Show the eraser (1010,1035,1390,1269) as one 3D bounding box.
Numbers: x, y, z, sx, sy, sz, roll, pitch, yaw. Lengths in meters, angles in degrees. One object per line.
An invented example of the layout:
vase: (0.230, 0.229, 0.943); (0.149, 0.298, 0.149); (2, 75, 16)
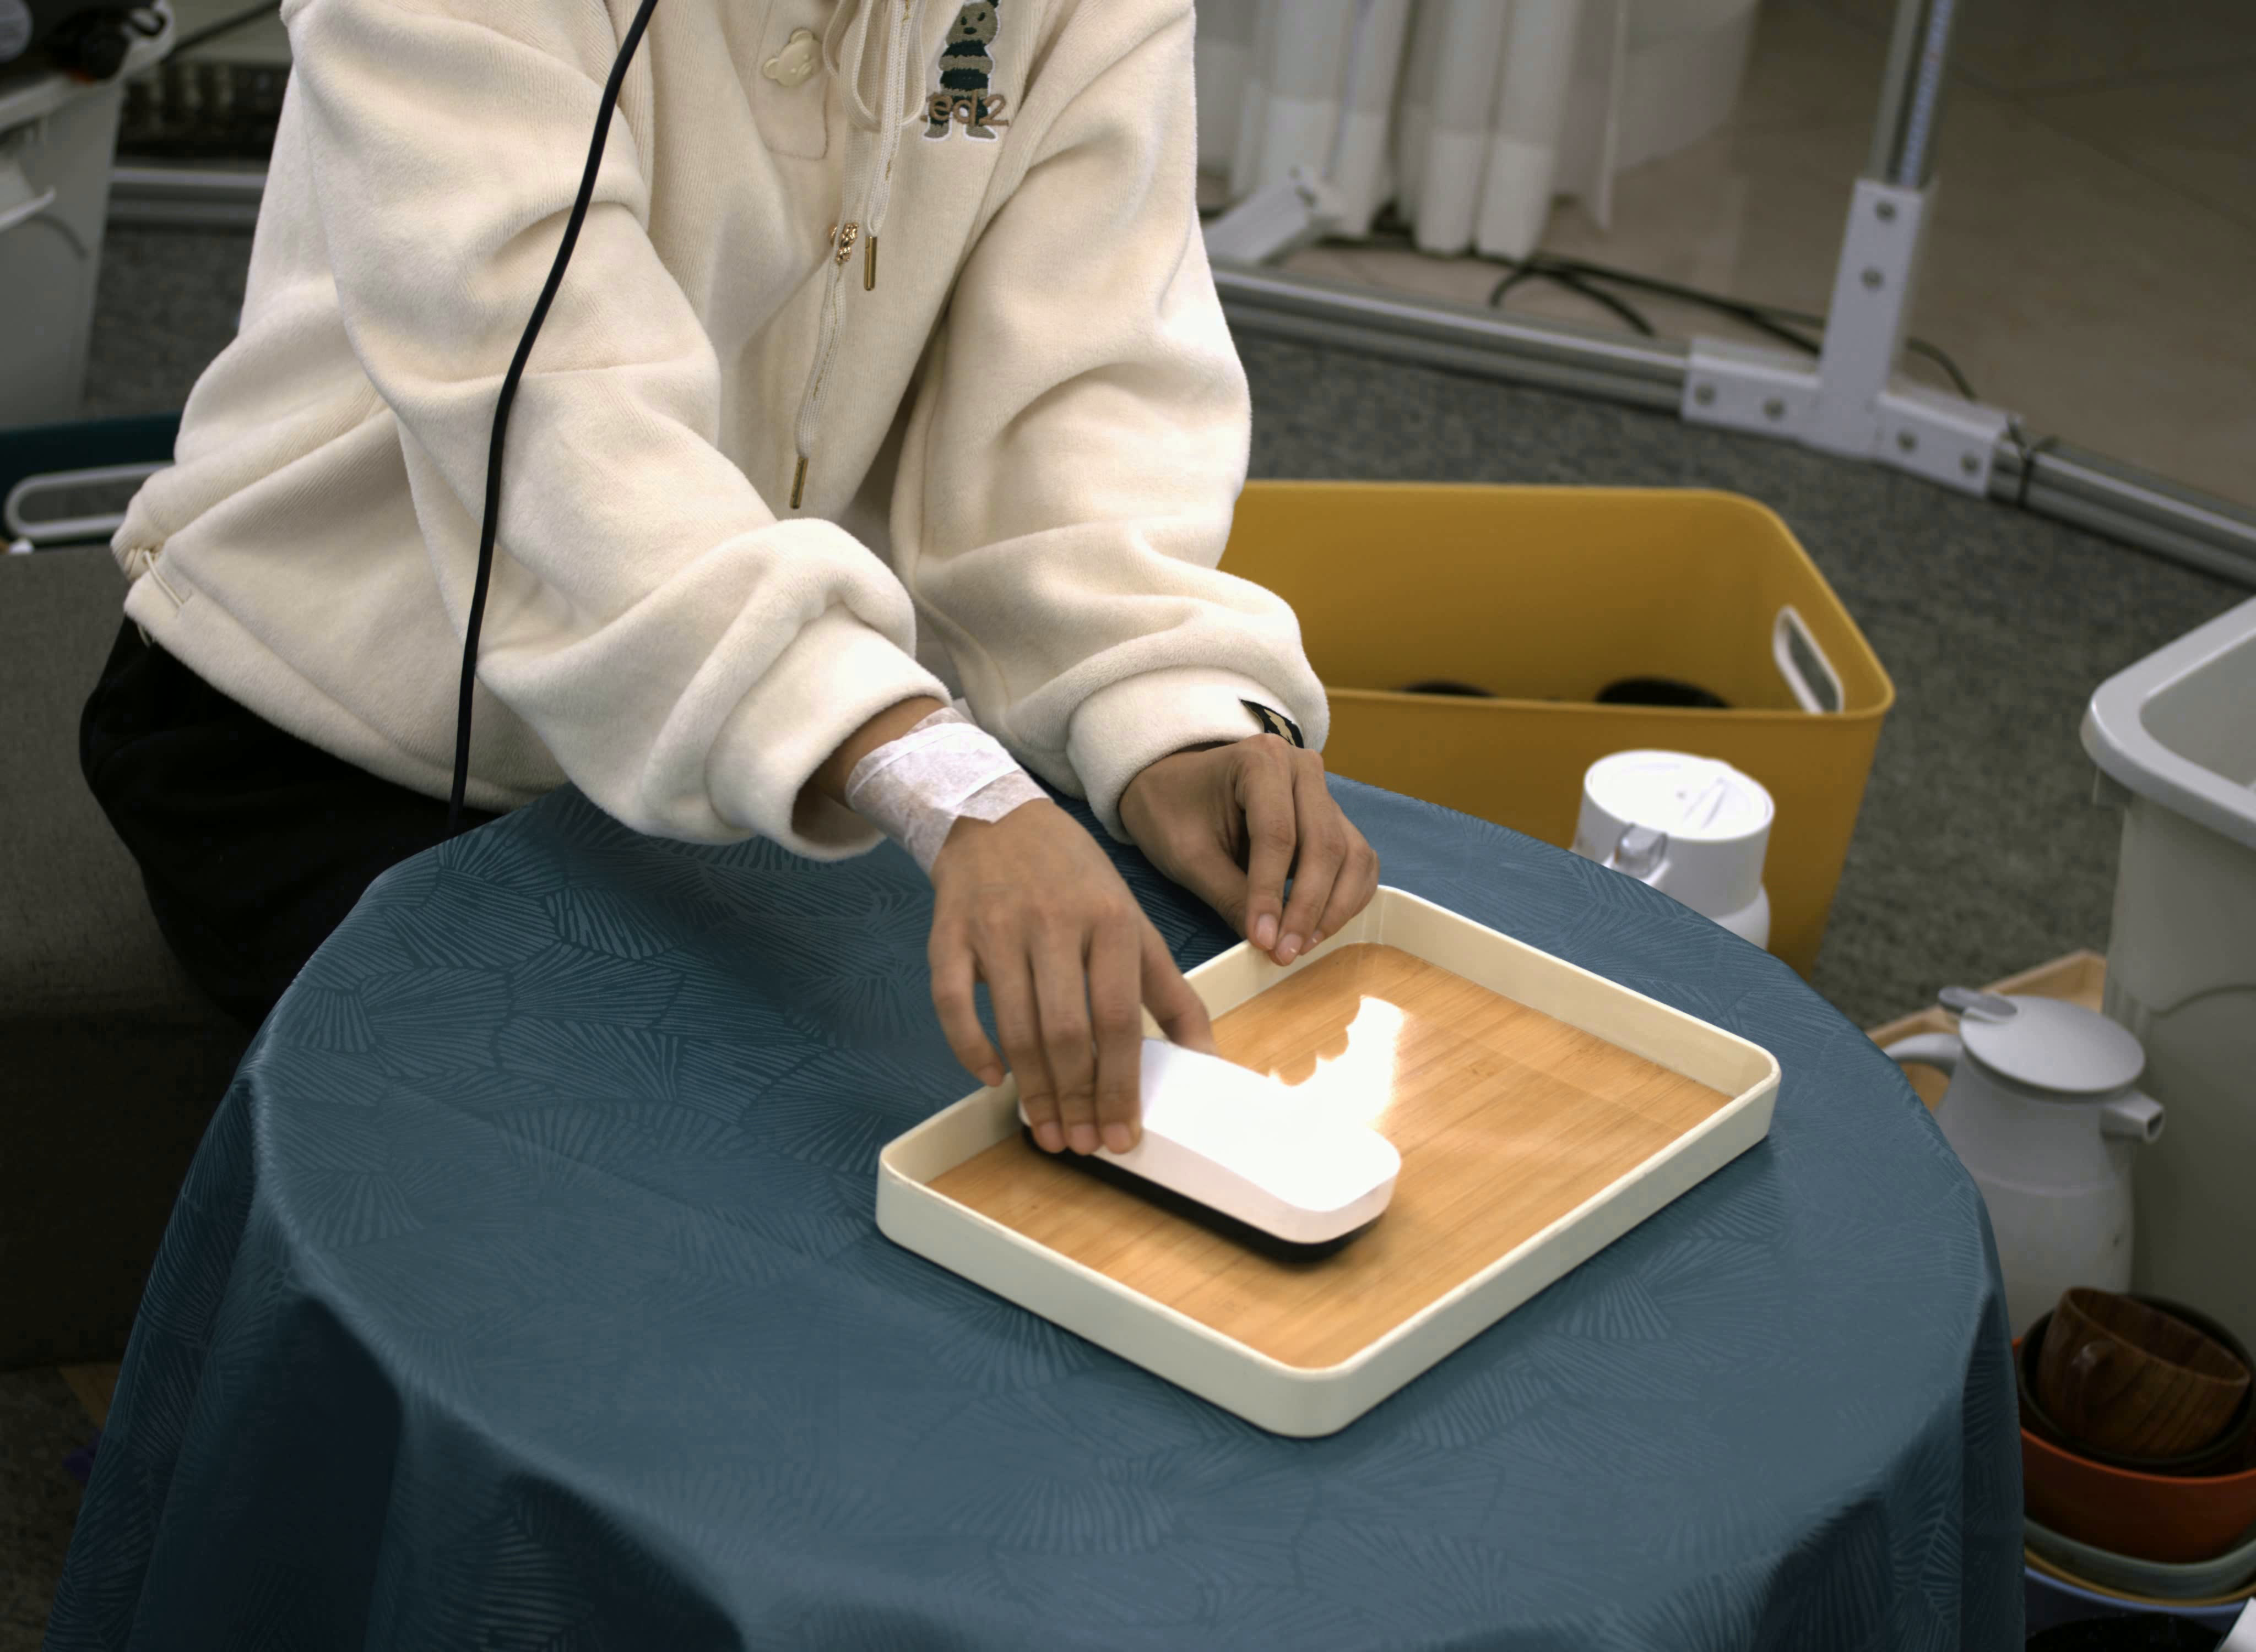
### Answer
eraser: (0.024, 0.106, 1.793); (0.132, 0.034, 0.063); (23, 30, 32)

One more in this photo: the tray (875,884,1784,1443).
tray: (0.073, 0.109, 1.818); (0.193, 0.027, 0.299); (25, 32, 30)
